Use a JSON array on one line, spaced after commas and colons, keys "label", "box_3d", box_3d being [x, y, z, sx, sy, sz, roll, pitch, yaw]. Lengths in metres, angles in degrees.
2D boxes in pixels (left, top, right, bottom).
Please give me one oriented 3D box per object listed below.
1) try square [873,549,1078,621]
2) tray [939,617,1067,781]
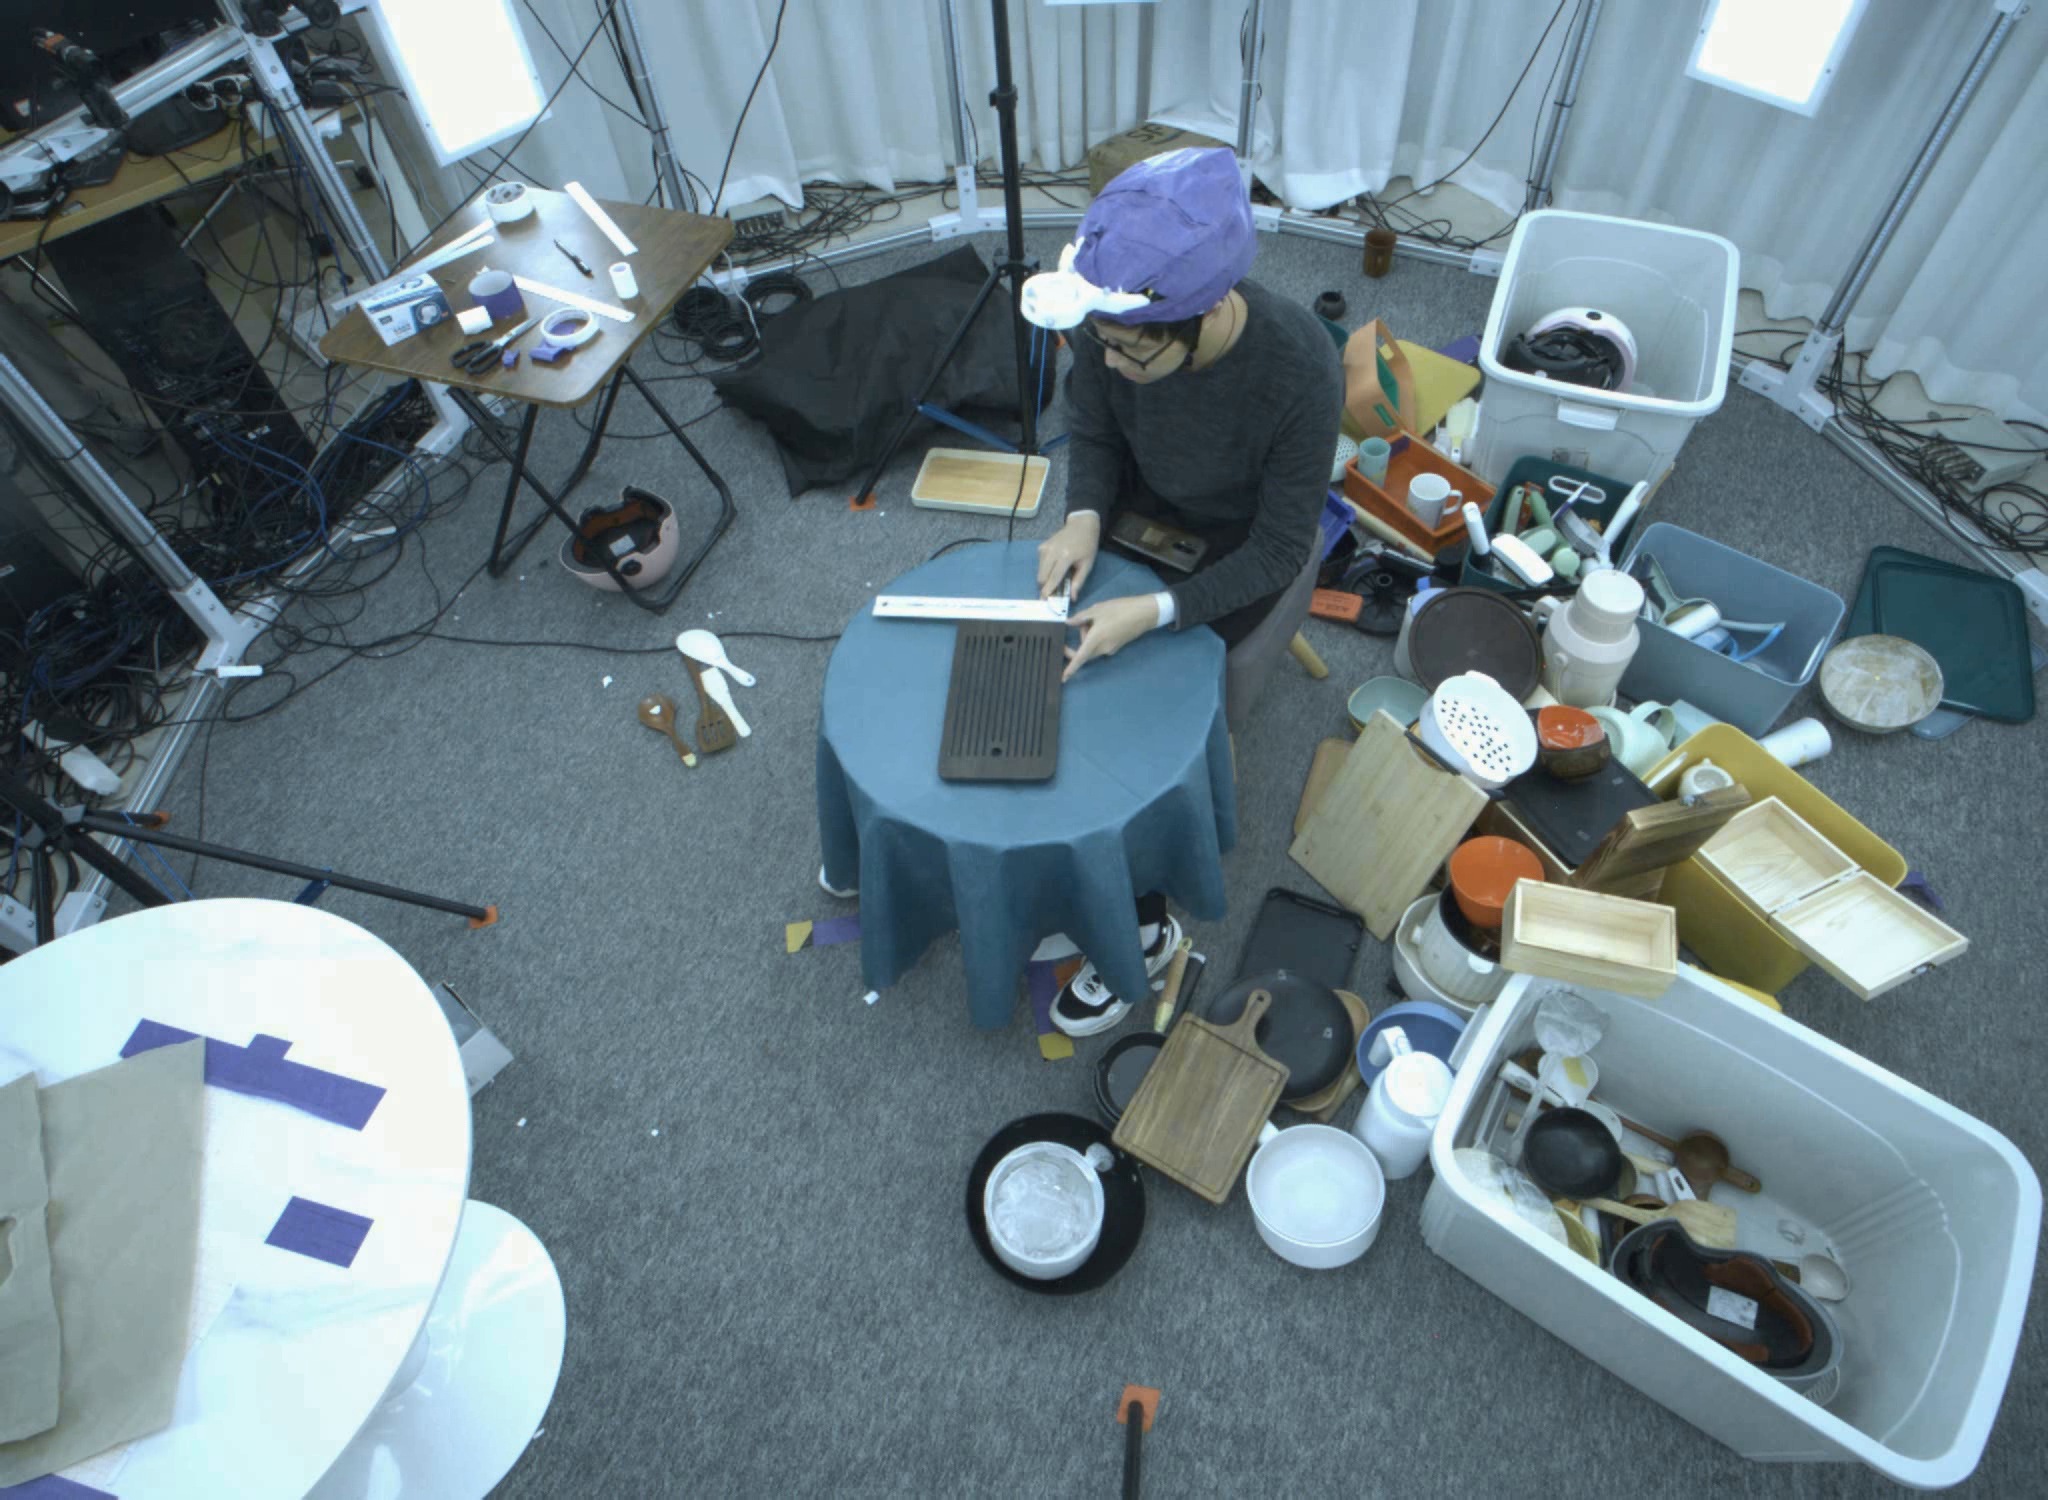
[{"label": "try square", "box_3d": [-0.076, -0.267, 1.958, 0.311, 0.016, 0.151, 3, 54, 6]}, {"label": "tray", "box_3d": [-0.027, -0.079, 1.832, 0.169, 0.019, 0.303, 1, 55, 5]}]
